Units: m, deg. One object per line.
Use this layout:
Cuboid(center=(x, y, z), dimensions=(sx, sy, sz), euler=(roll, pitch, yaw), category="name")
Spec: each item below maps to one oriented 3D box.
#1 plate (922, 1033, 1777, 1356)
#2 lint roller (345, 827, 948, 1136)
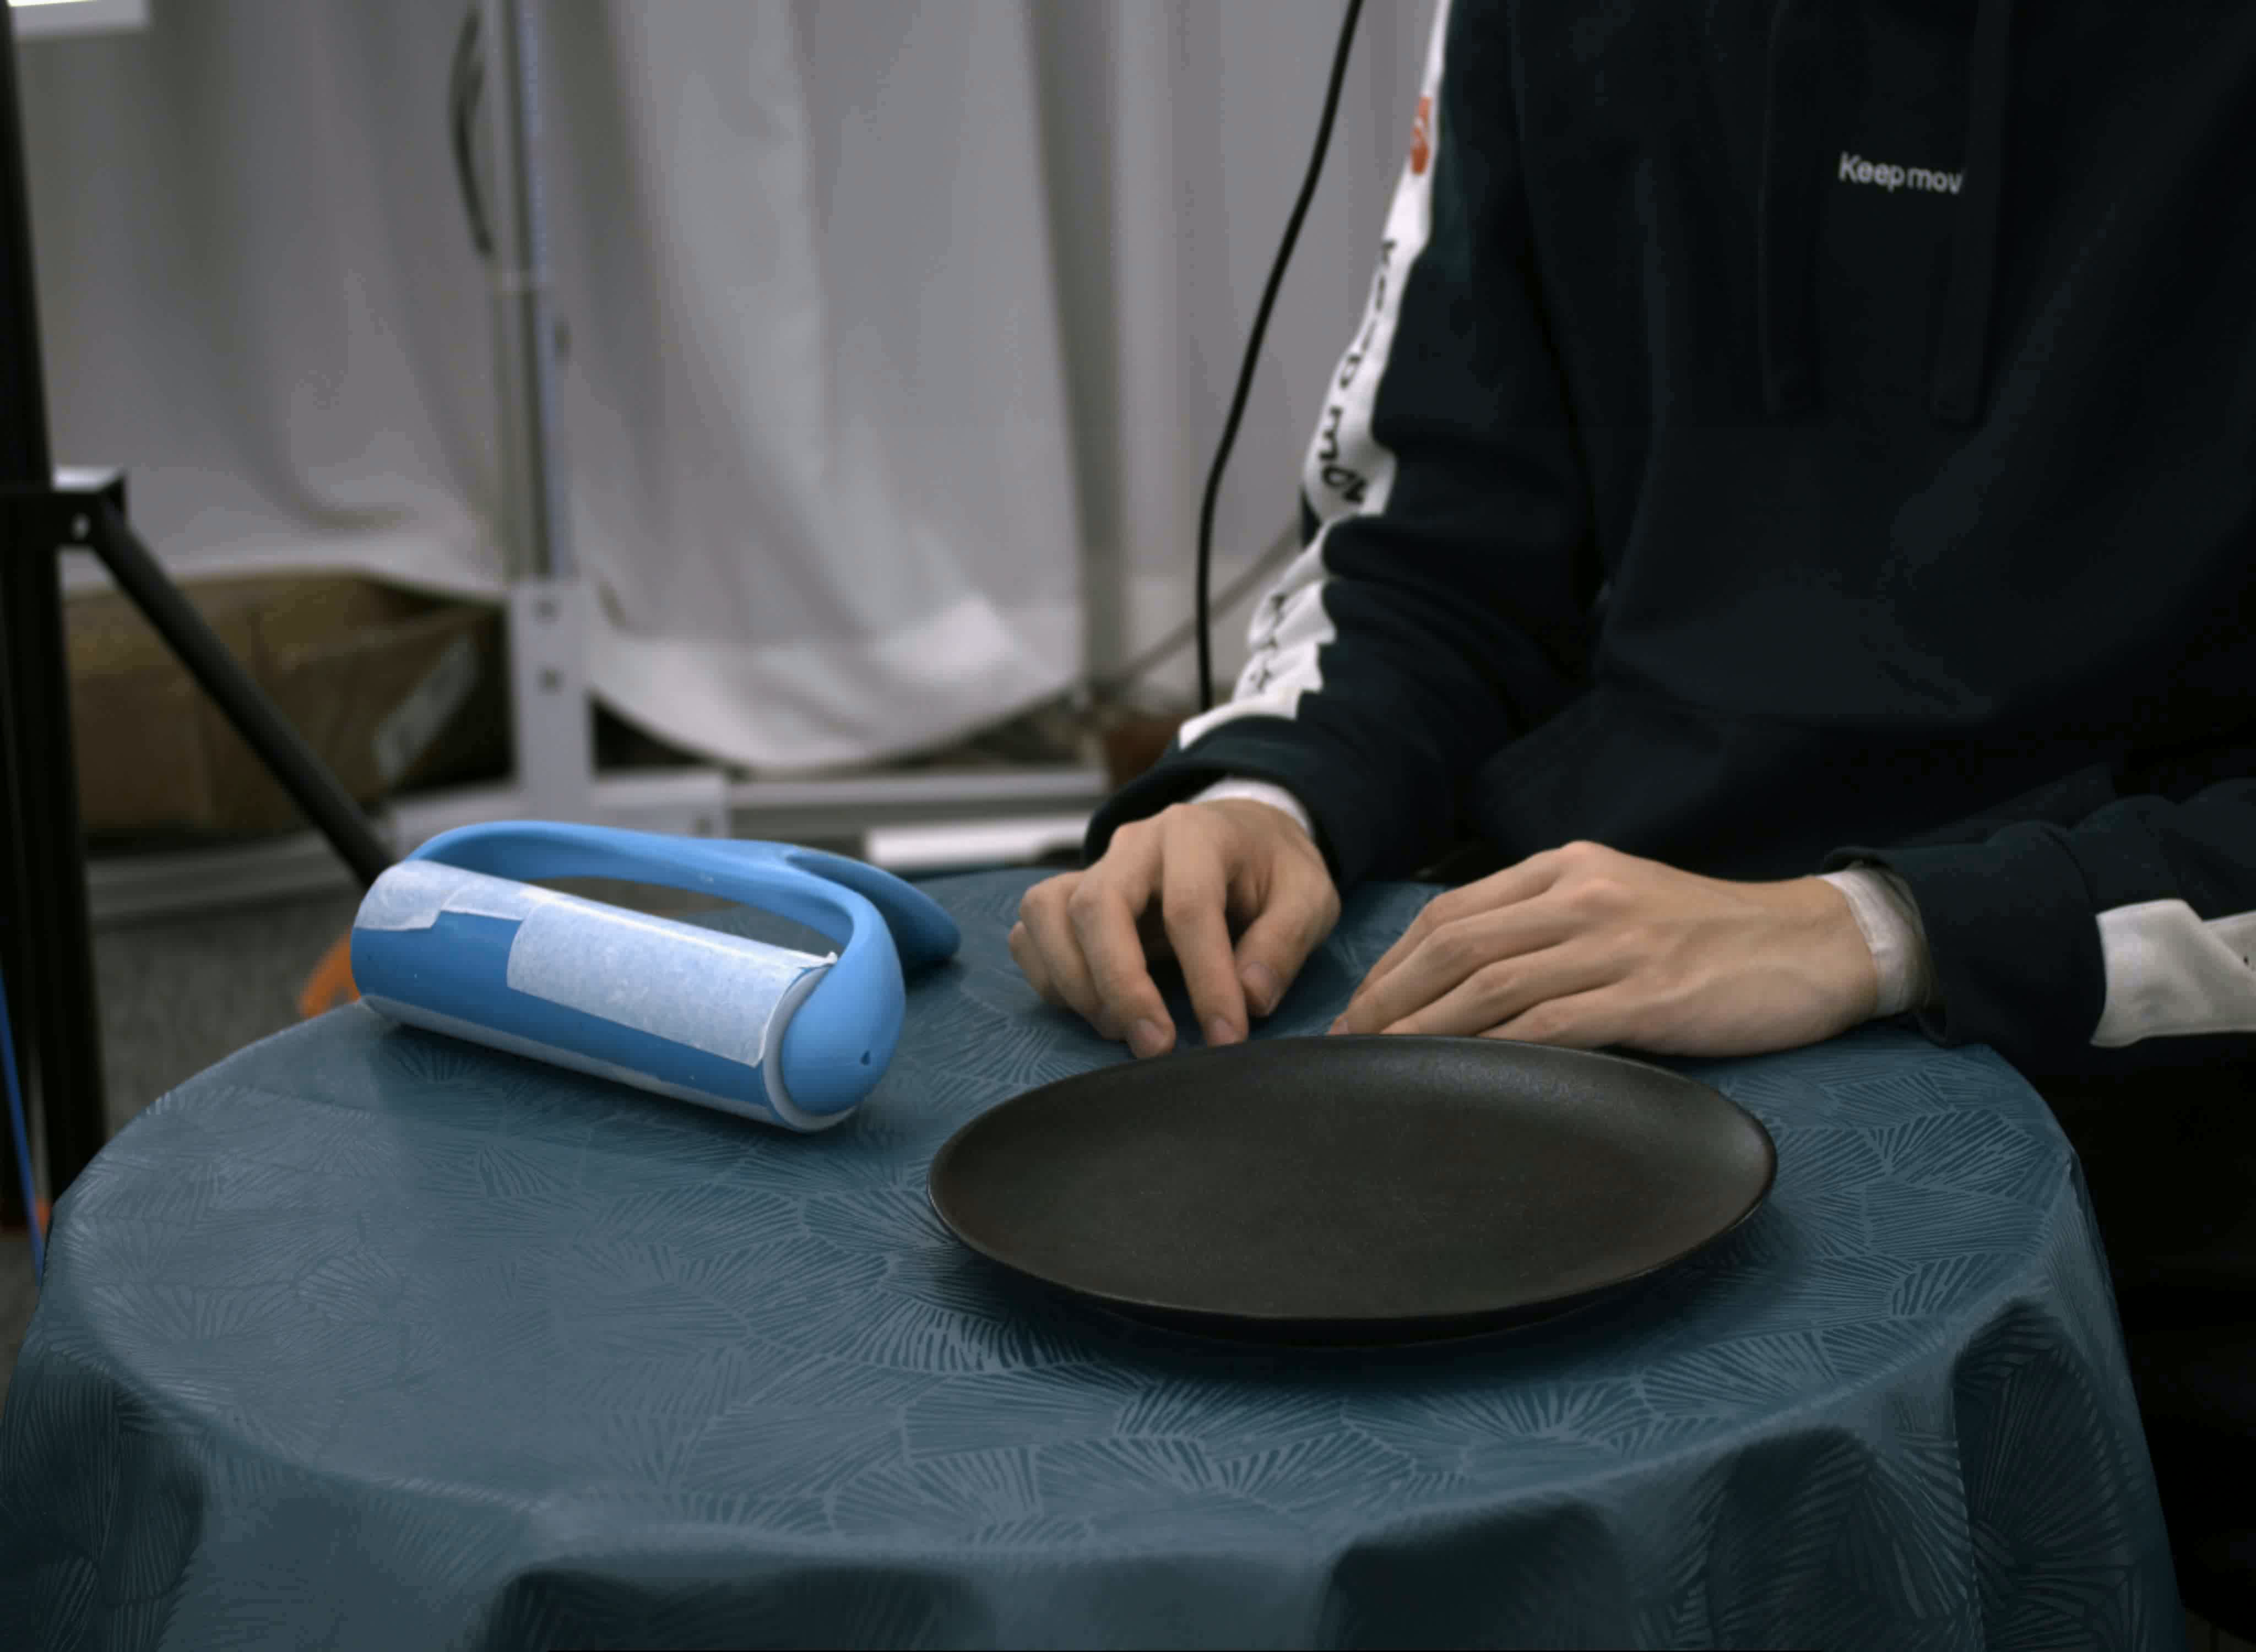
Cuboid(center=(0.063, 0.107, 1.508), dimensions=(0.243, 0.023, 0.245), euler=(-3, 16, -1), category="plate")
Cuboid(center=(-0.127, 0.038, 1.723), dimensions=(0.234, 0.068, 0.176), euler=(9, 20, 40), category="lint roller")
